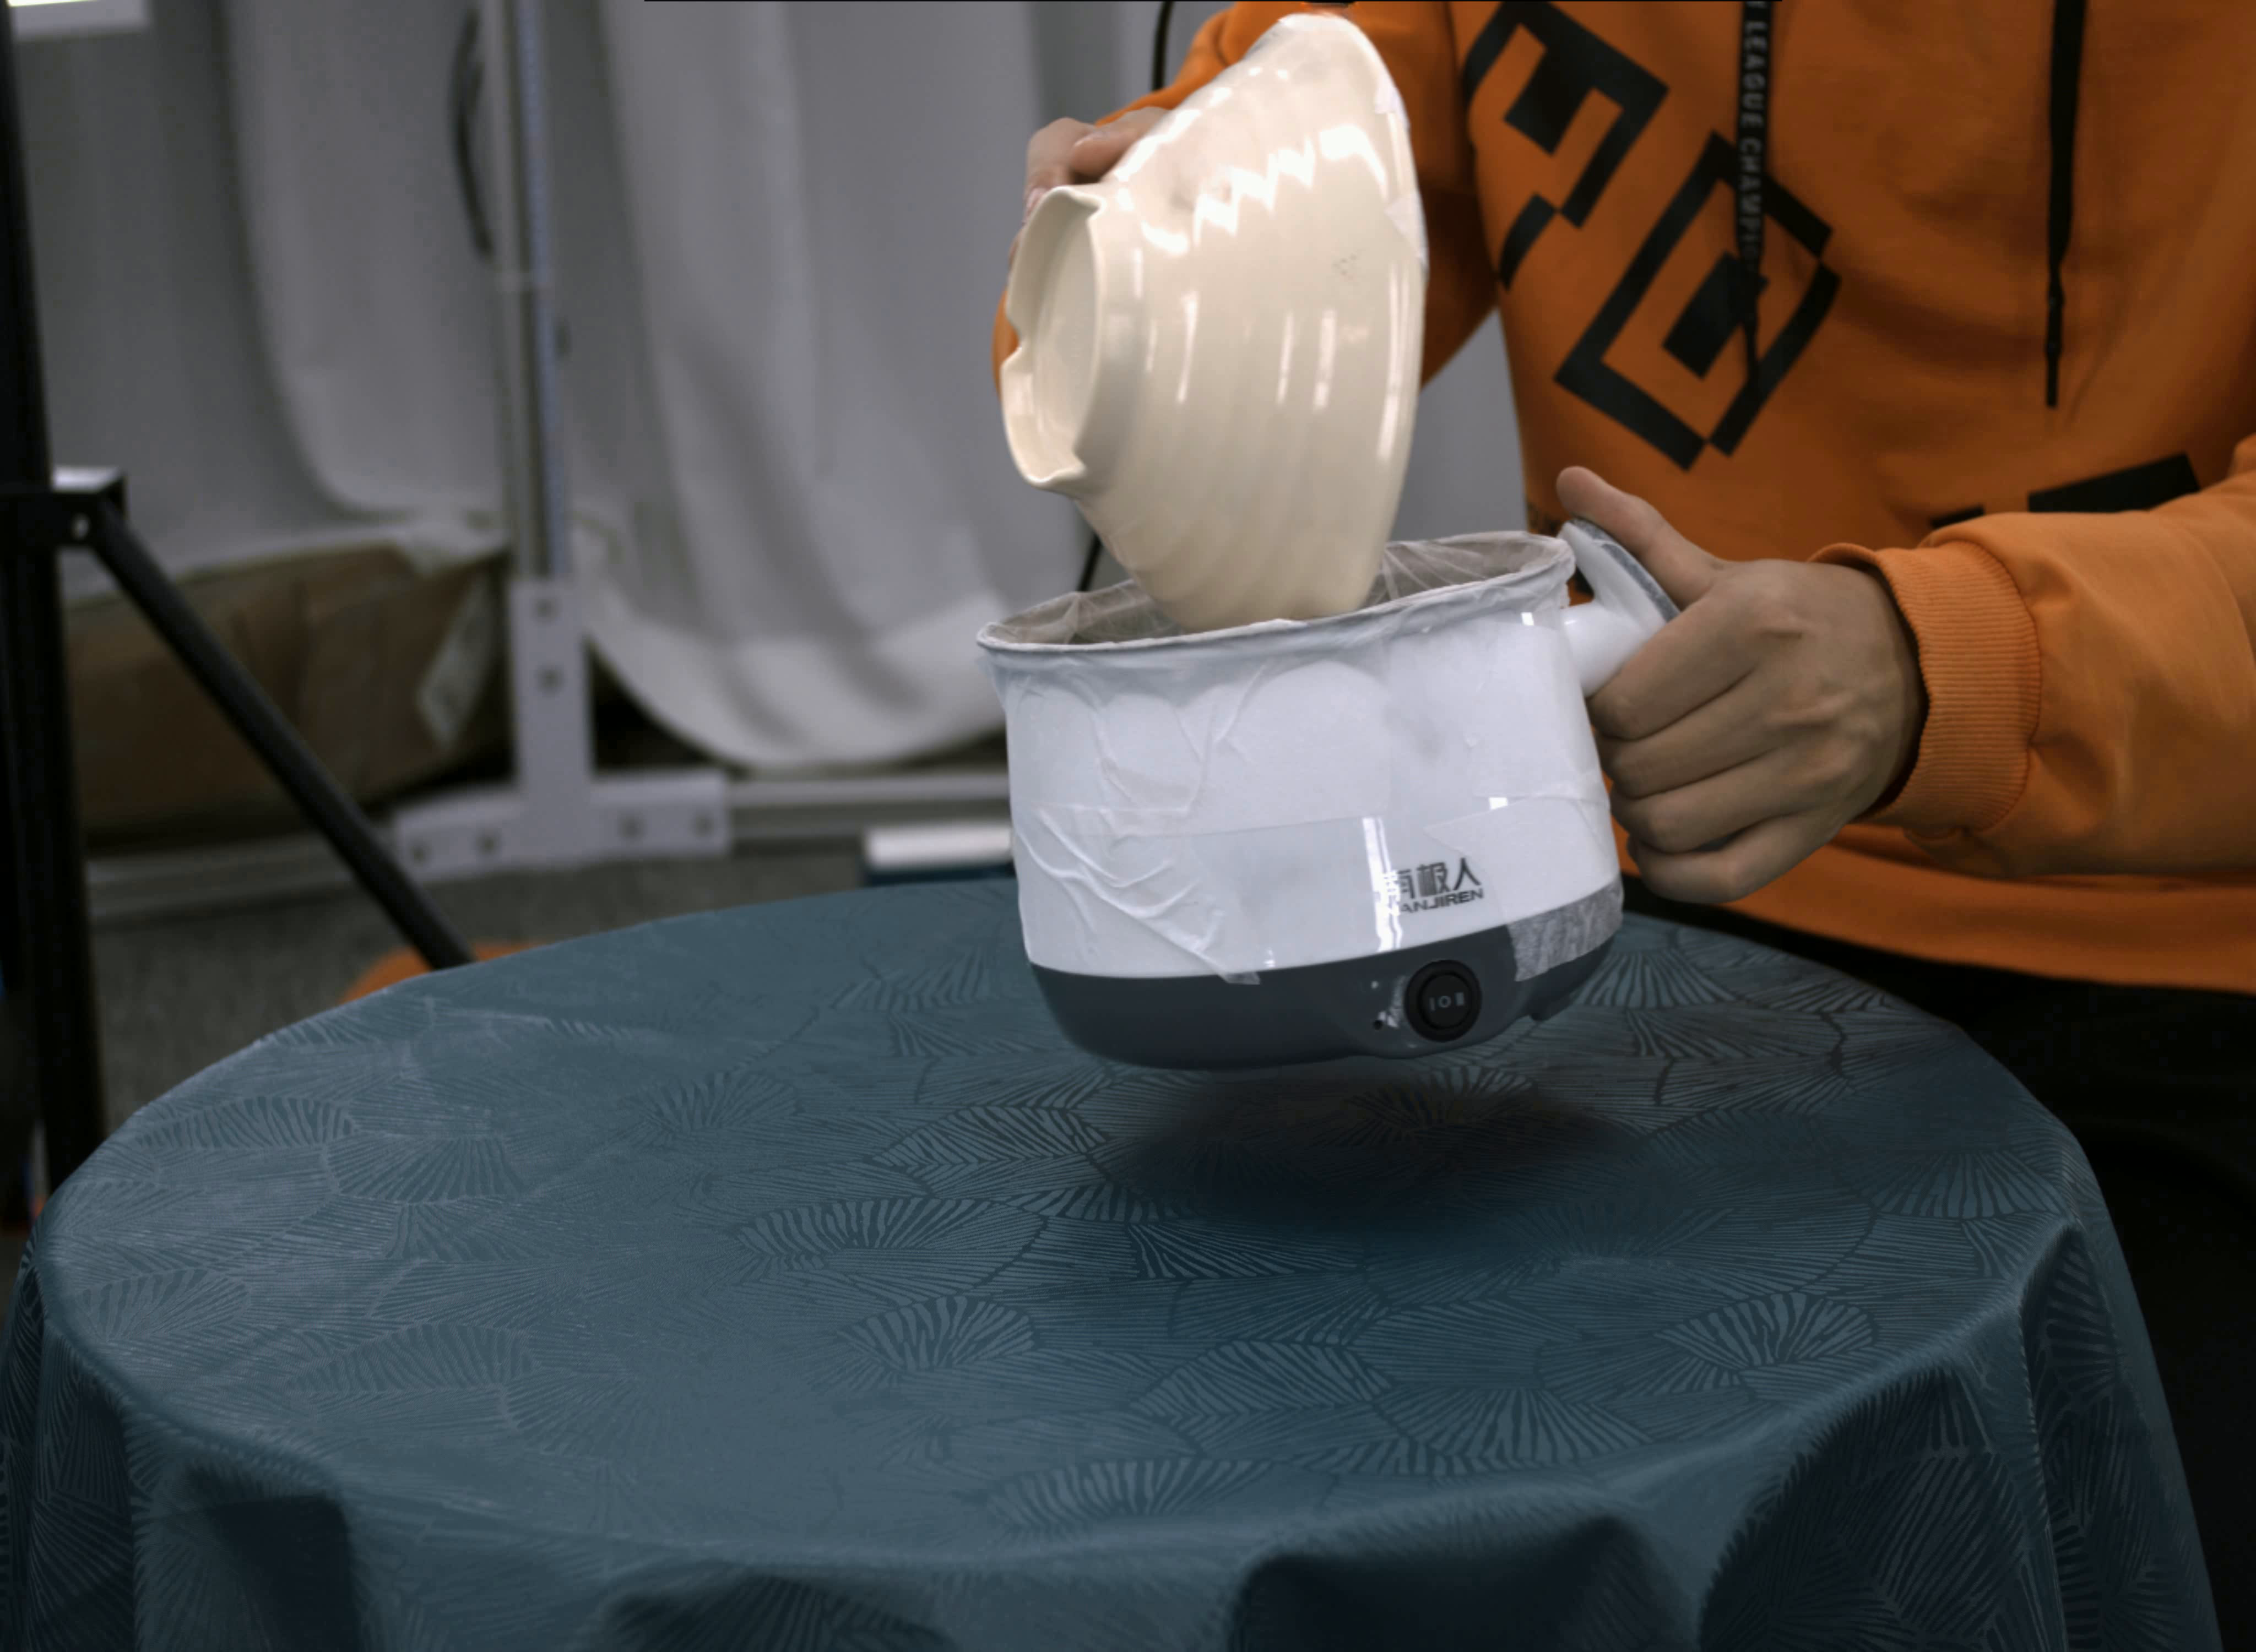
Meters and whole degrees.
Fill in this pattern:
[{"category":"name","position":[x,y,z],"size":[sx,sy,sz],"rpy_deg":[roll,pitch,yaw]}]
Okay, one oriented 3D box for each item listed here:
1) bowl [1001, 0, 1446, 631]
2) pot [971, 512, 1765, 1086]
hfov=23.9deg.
[{"category":"bowl","position":[0.014,-0.141,1.545],"size":[0.076,0.204,0.207],"rpy_deg":[4,12,-22]},{"category":"pot","position":[0.076,-0.012,1.573],"size":[0.230,0.137,0.181],"rpy_deg":[-12,9,-19]}]
